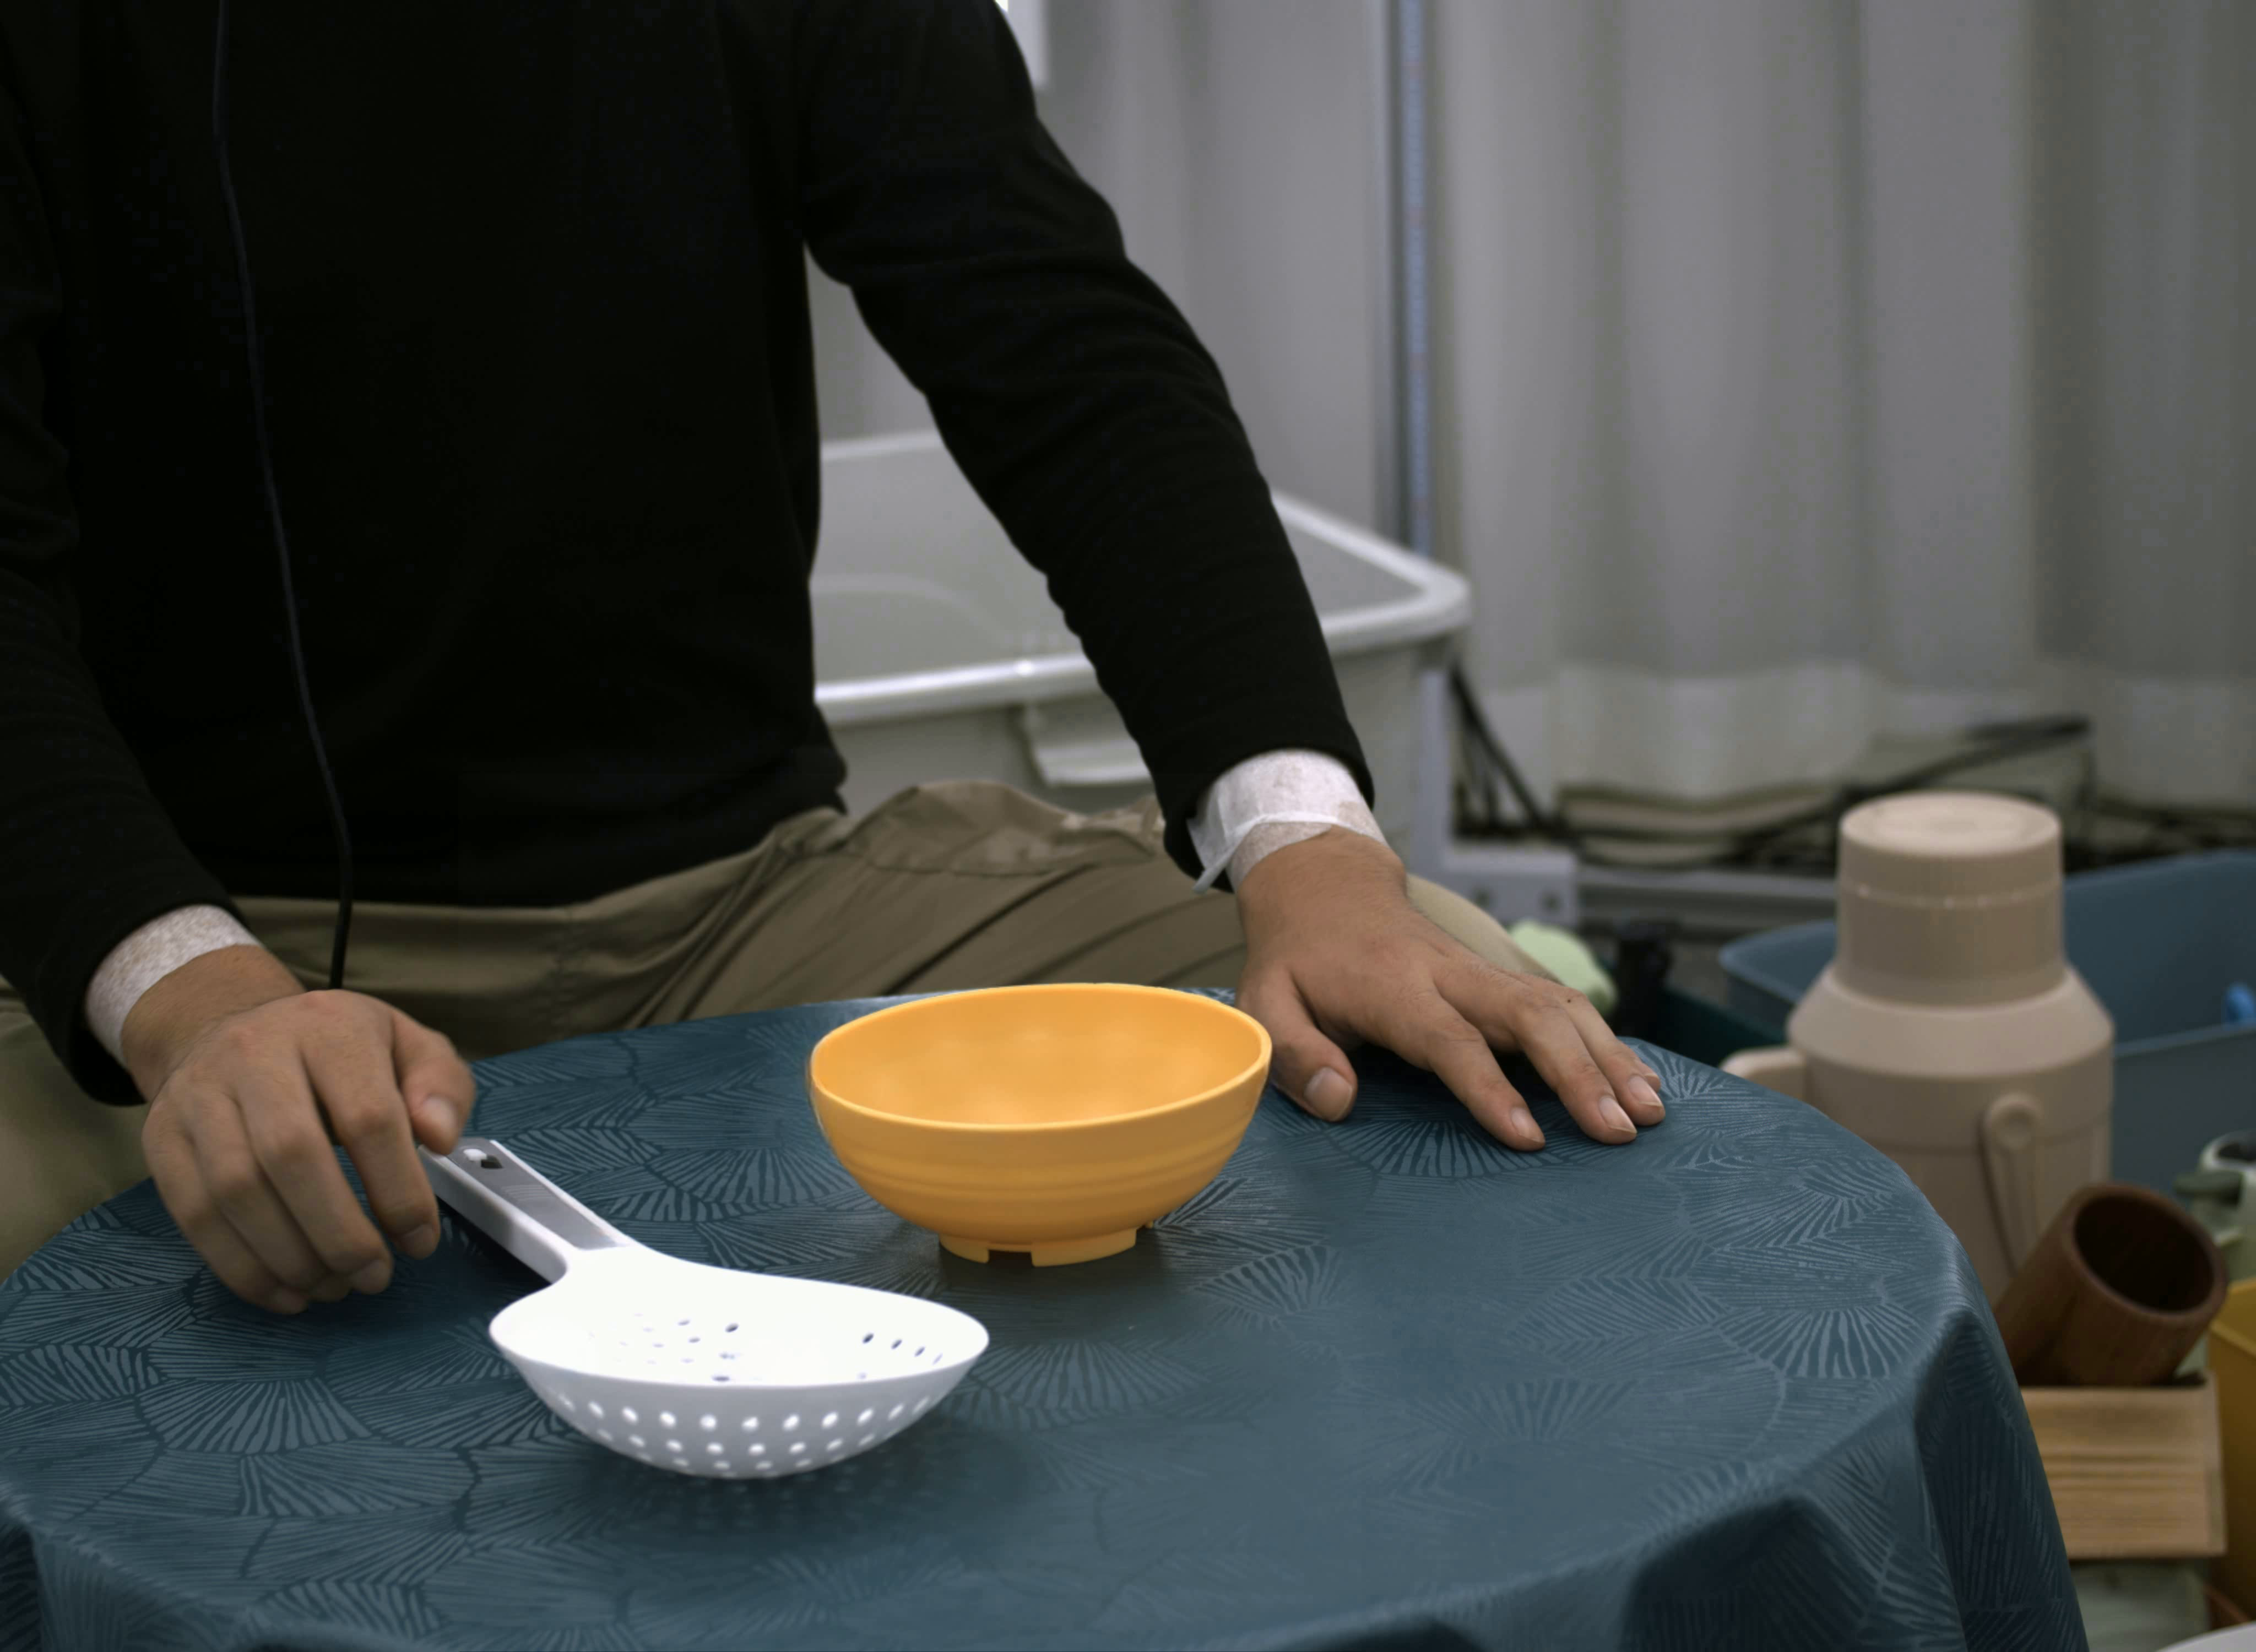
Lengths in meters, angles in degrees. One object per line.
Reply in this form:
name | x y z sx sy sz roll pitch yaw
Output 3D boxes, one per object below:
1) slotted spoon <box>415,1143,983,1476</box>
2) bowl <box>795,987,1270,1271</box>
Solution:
slotted spoon | -0.150 0.131 1.591 0.135 0.045 0.352 -2 12 -23
bowl | -0.029 0.098 1.675 0.145 0.060 0.146 -1 15 0
